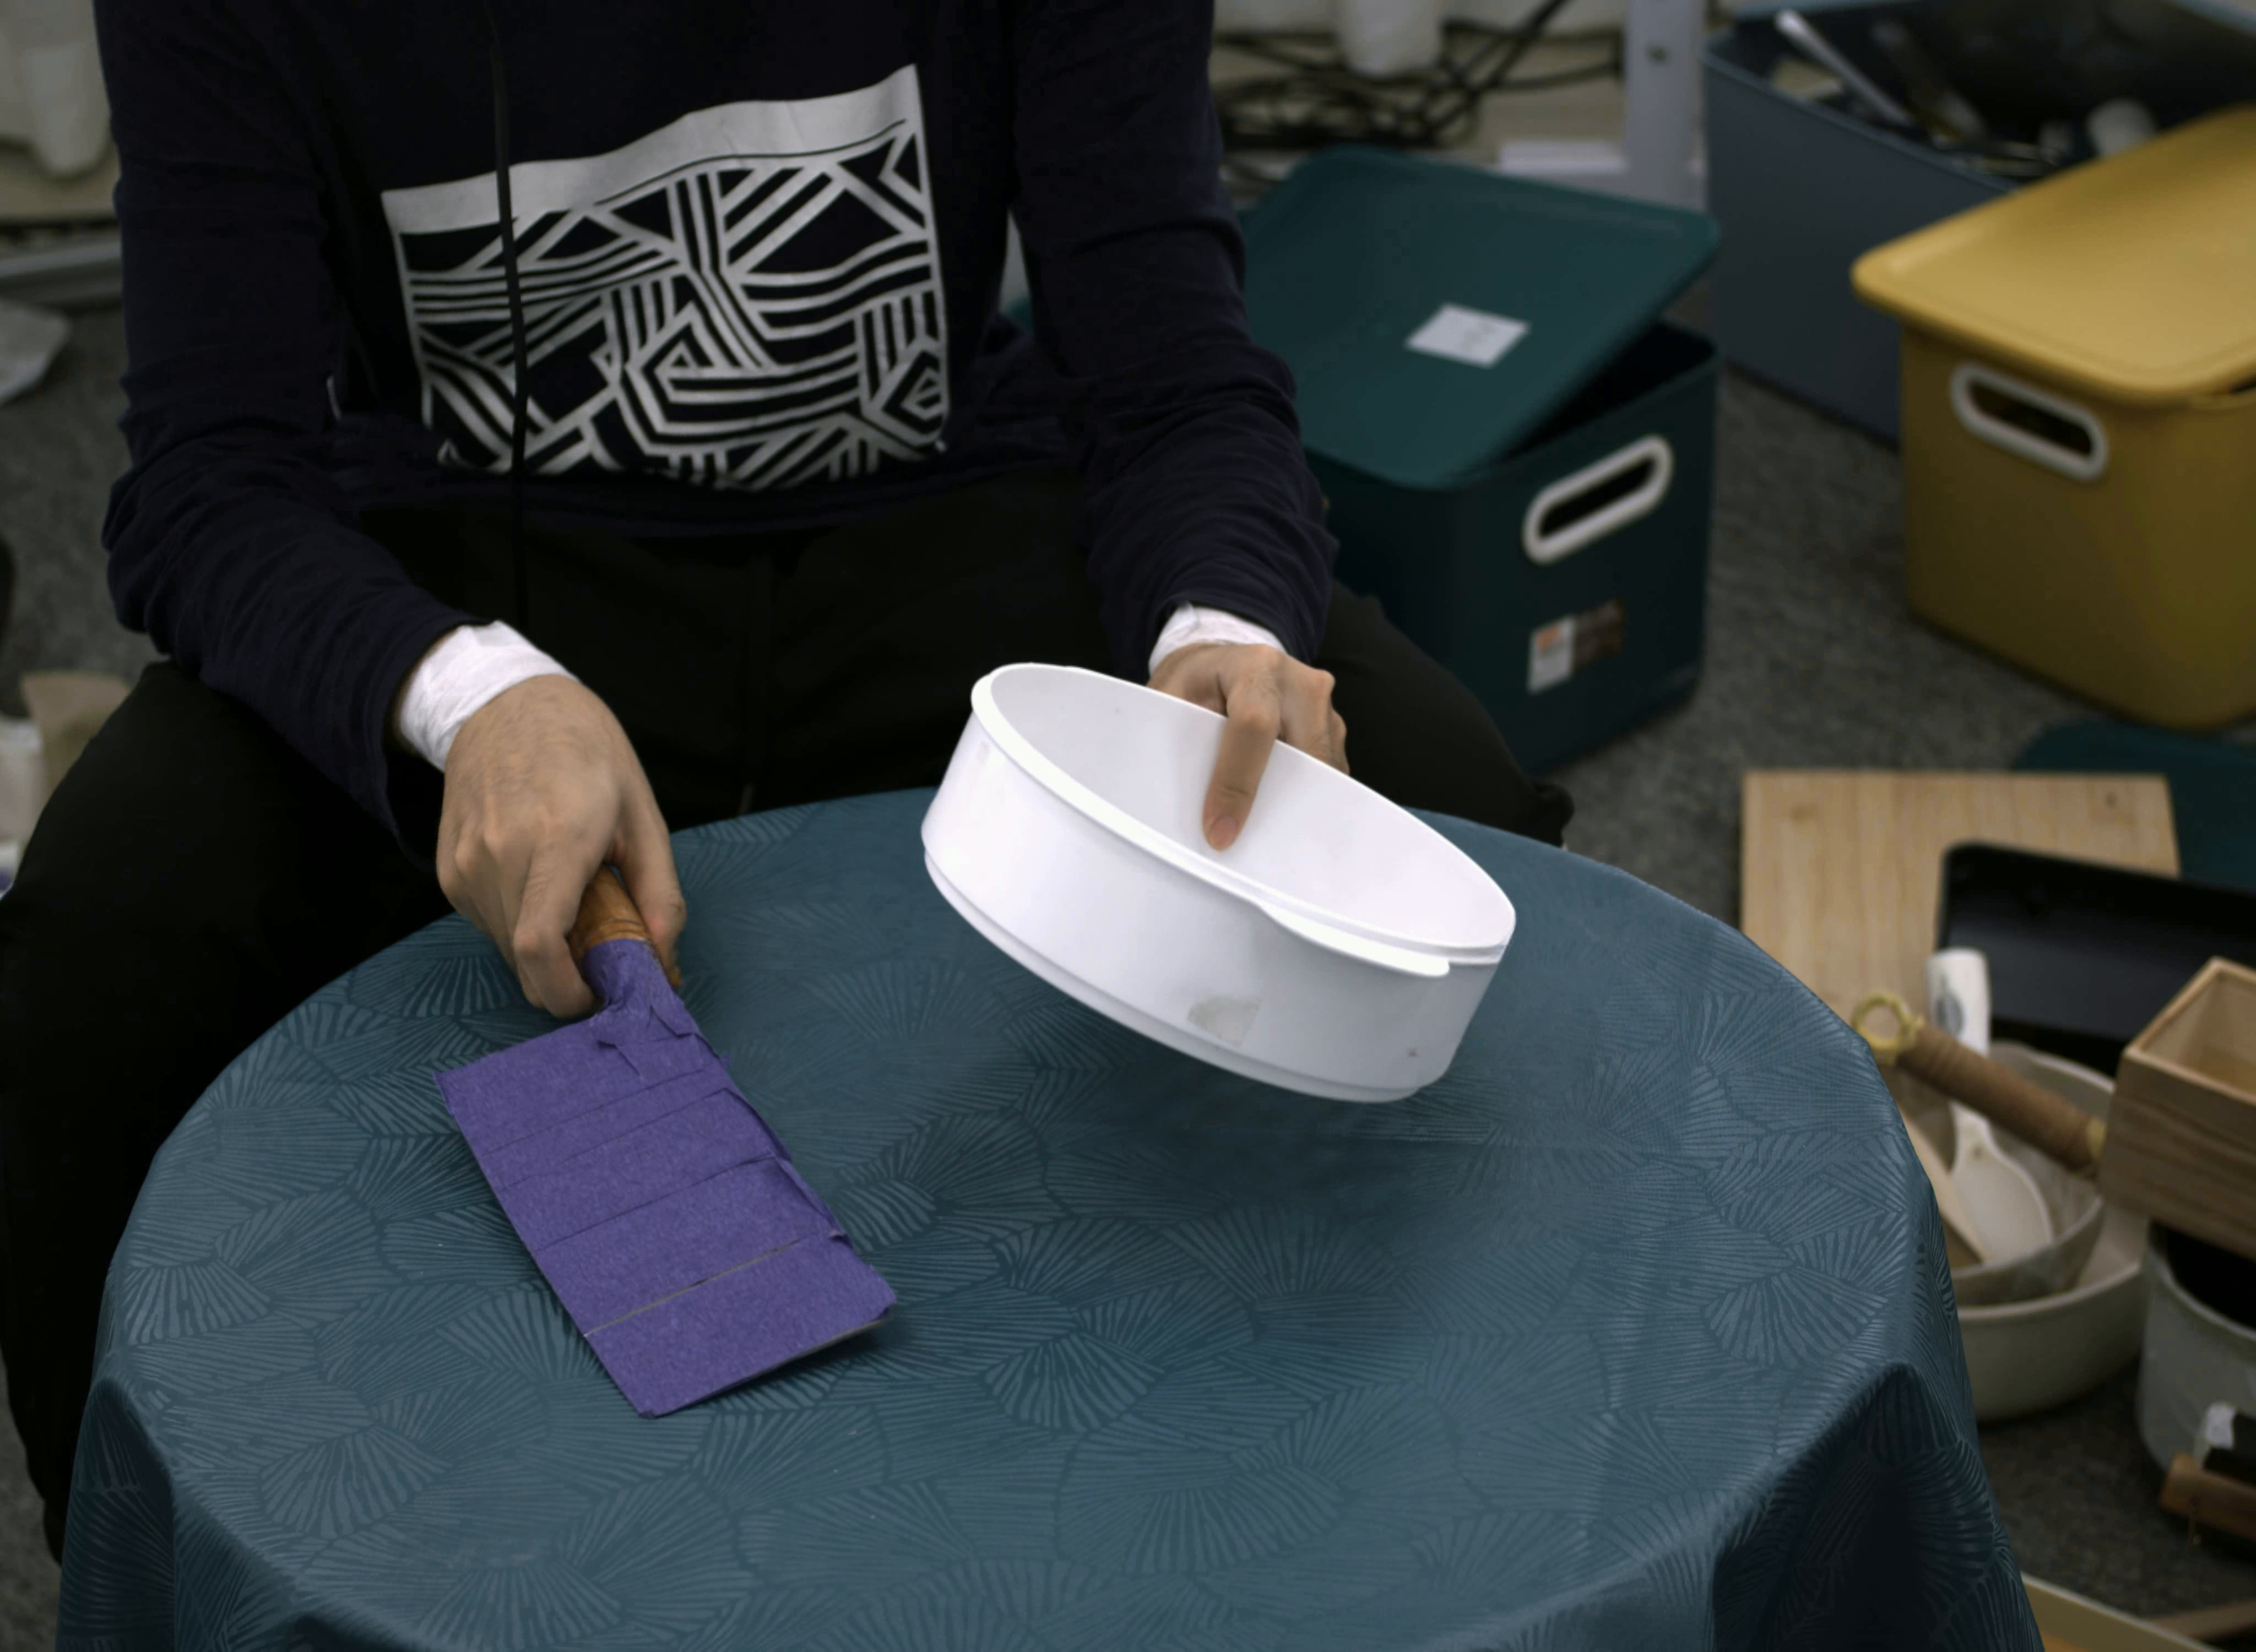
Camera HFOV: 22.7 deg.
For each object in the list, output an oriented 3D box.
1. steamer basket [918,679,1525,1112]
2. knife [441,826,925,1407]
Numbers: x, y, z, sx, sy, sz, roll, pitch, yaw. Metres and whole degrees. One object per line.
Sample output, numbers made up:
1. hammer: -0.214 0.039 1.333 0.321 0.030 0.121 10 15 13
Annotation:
1. steamer basket: 0.029 0.025 1.867 0.201 0.069 0.232 19 13 -28
2. knife: -0.174 0.093 1.881 0.104 0.032 0.318 -19 34 -17
